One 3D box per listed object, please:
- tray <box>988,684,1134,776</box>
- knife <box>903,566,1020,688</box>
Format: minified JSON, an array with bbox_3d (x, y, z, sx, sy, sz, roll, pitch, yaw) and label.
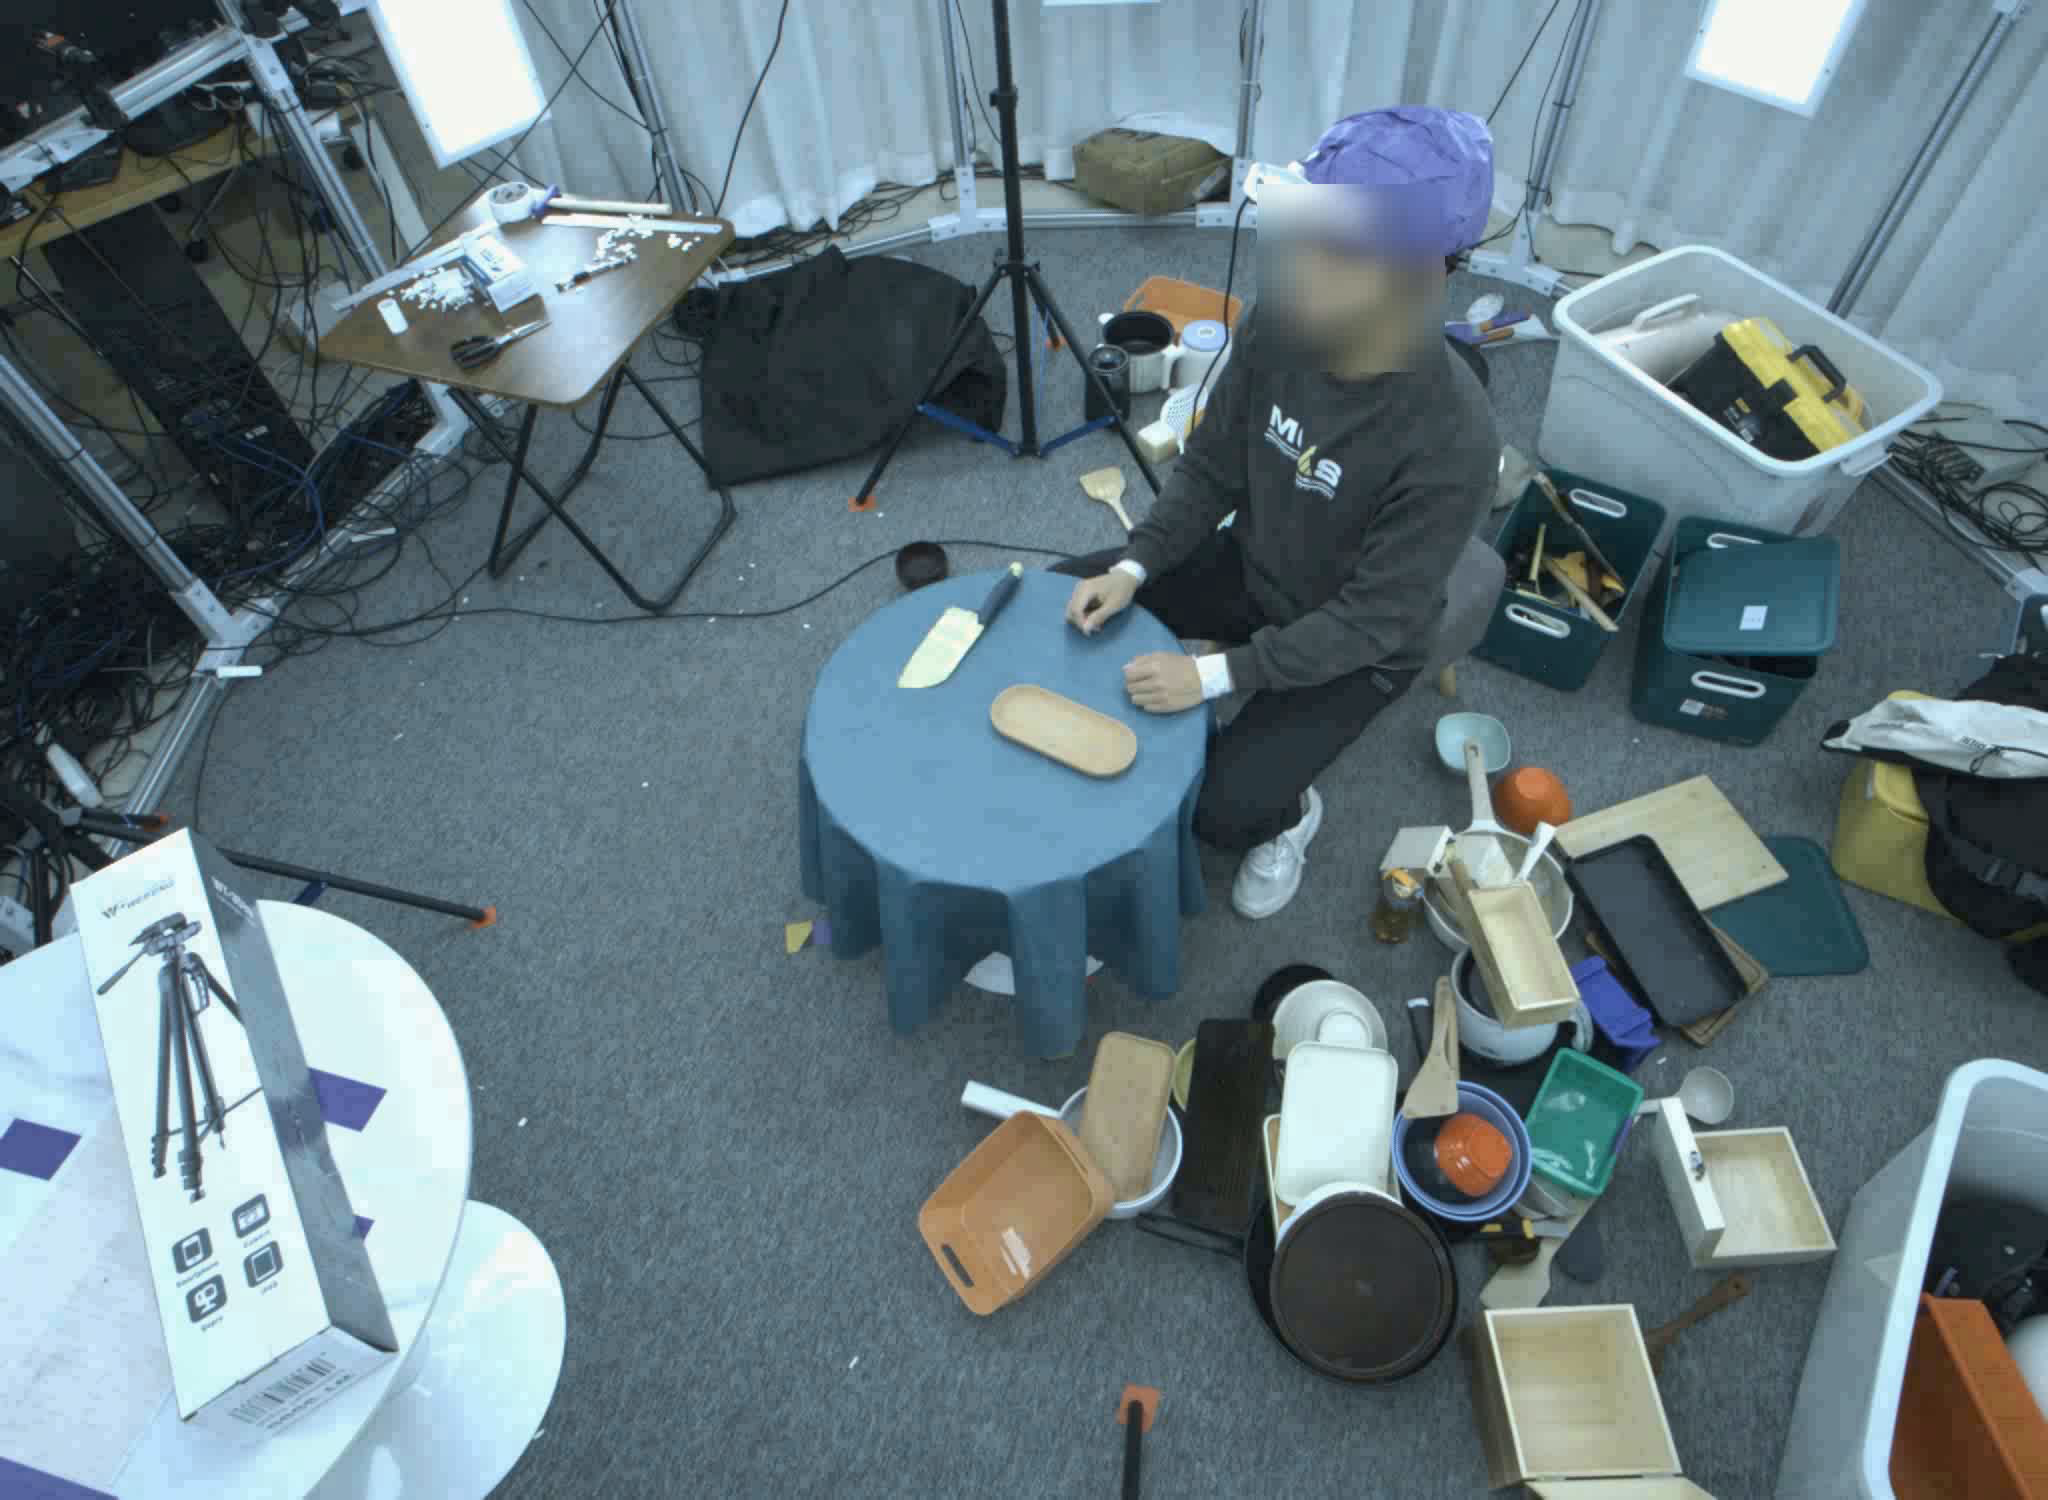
[{"bbox_3d":[0.053,-0.030,1.805,0.228,0.020,0.102,23,57,19],"label":"tray"},{"bbox_3d":[-0.097,-0.197,1.930,0.080,0.027,0.290,28,60,18],"label":"knife"}]
